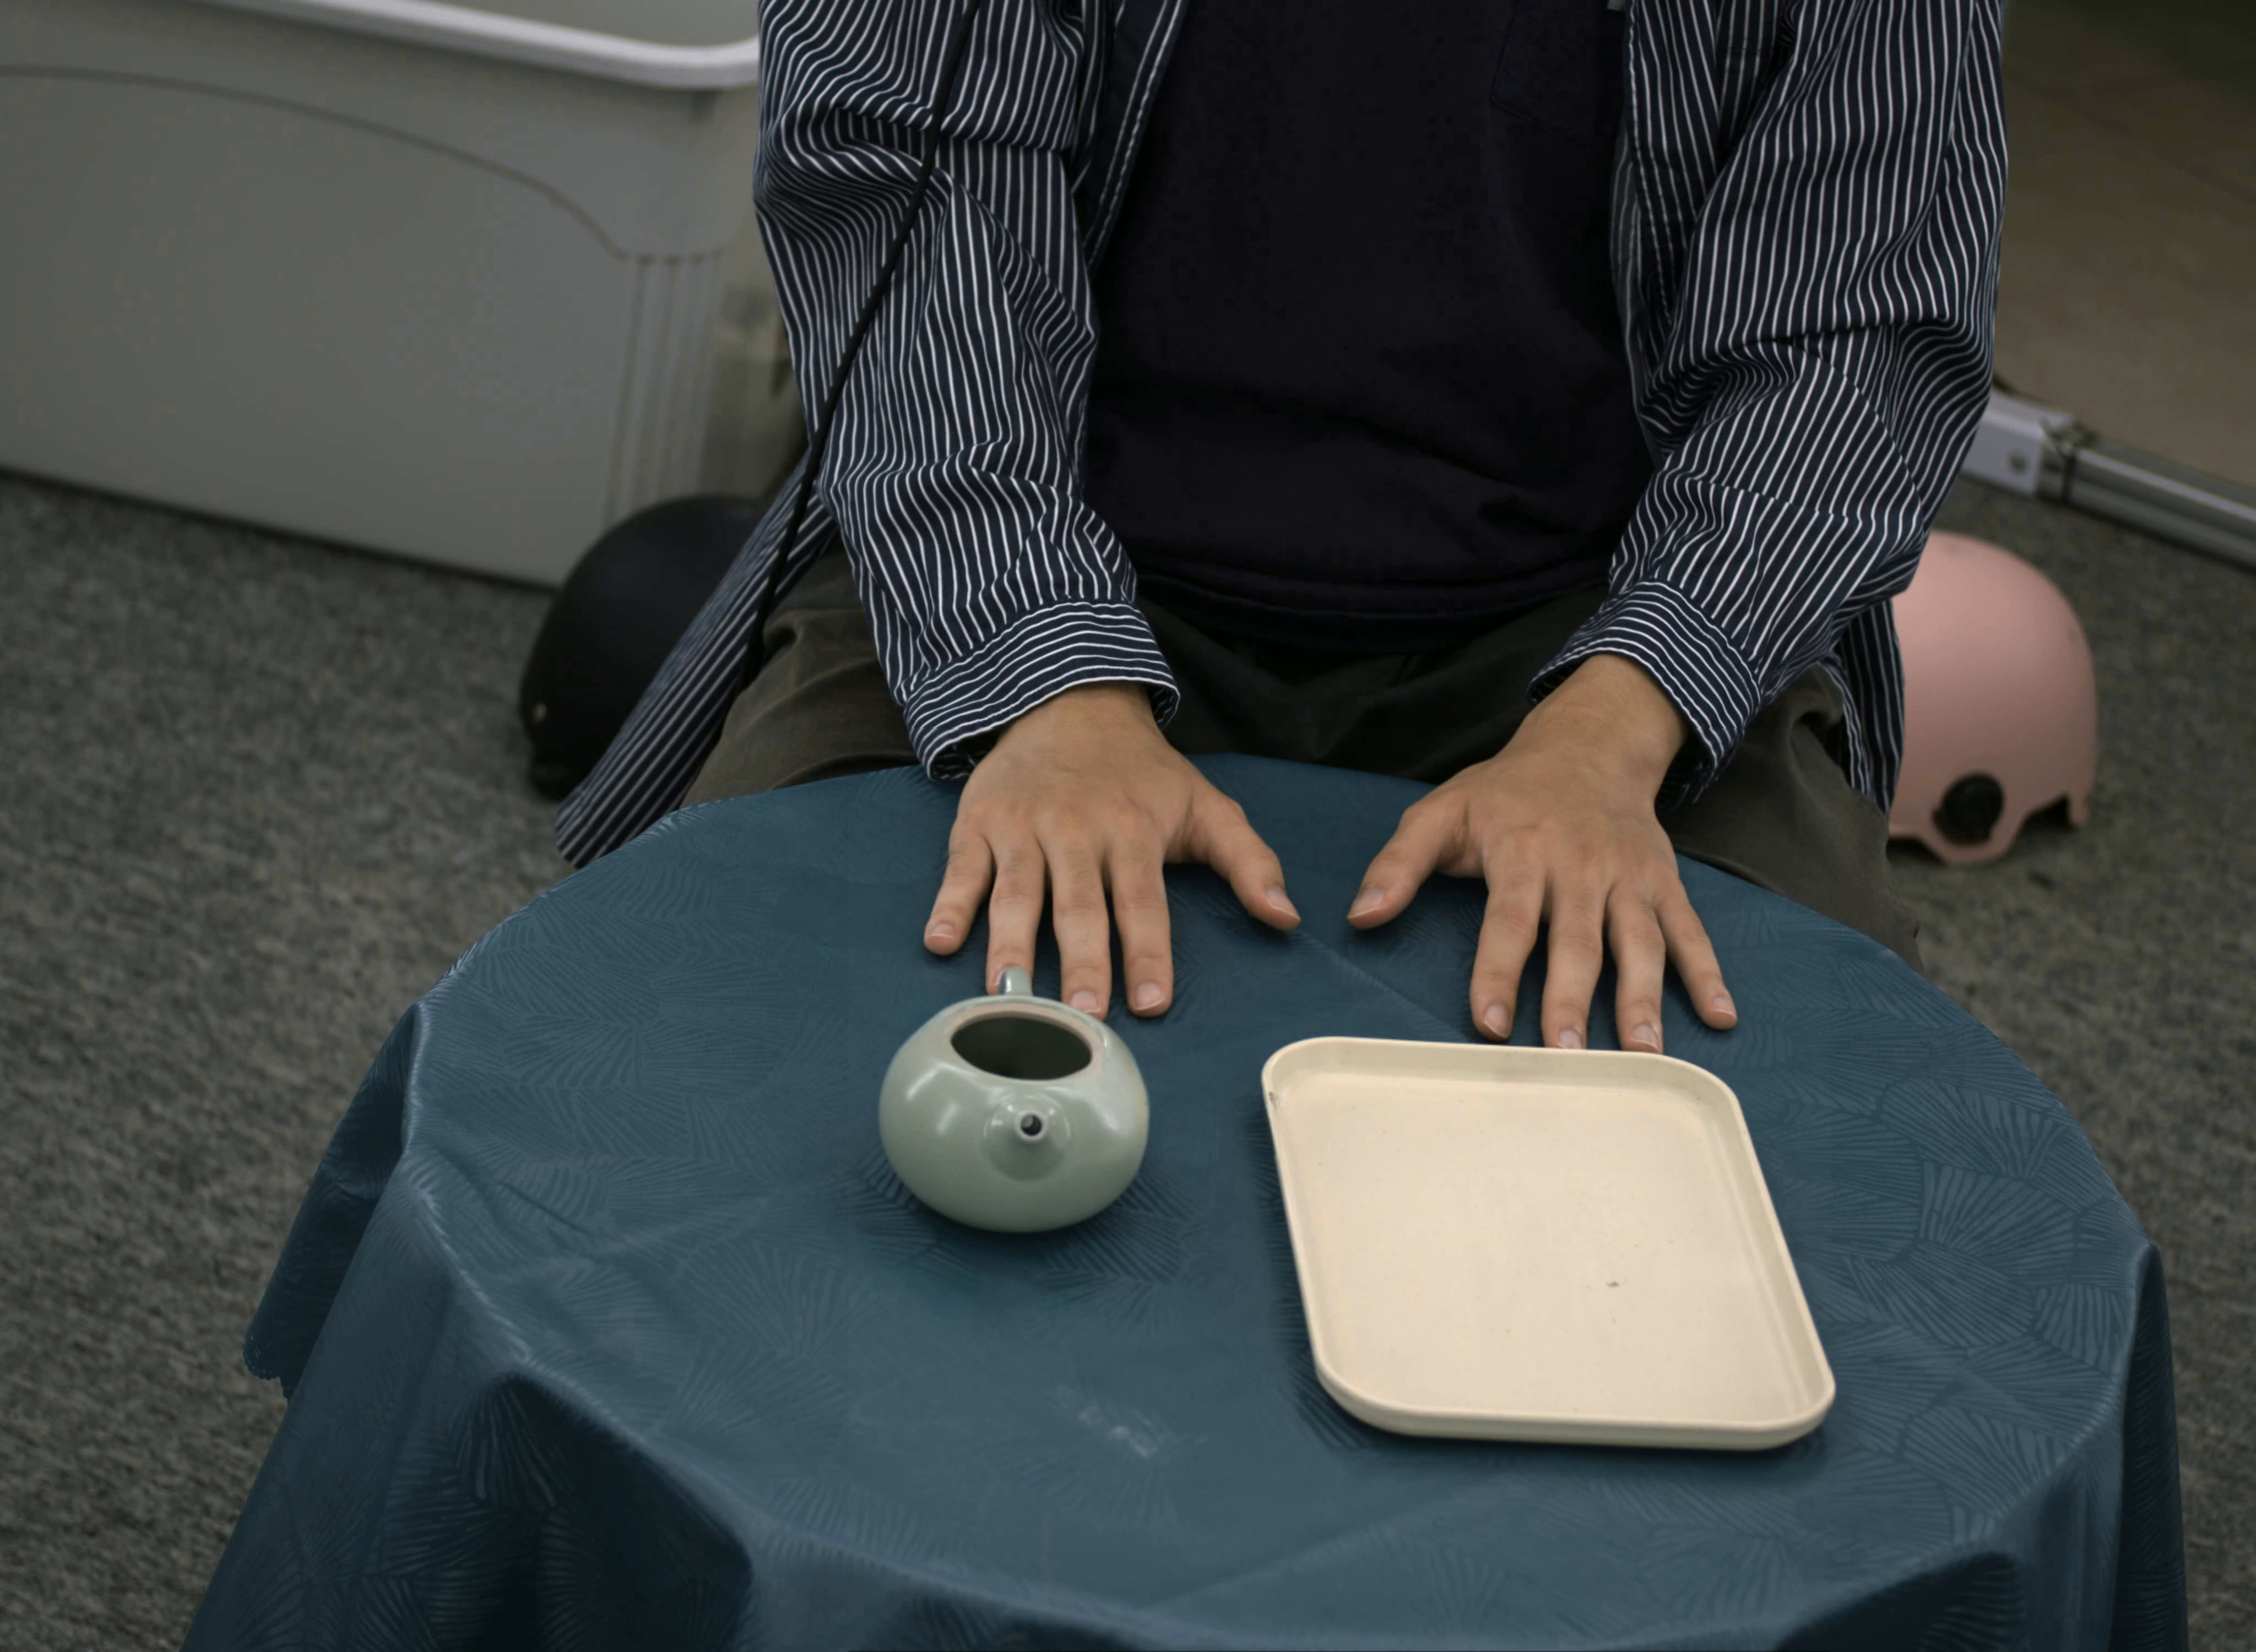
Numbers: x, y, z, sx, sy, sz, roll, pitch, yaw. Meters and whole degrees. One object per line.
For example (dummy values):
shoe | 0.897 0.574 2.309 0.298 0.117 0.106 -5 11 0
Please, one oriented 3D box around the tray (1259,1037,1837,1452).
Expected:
tray | 0.136 0.139 1.778 0.170 0.017 0.241 4 26 -6

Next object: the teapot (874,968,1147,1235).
teapot | -0.039 0.093 1.787 0.091 0.061 0.129 4 26 -1
